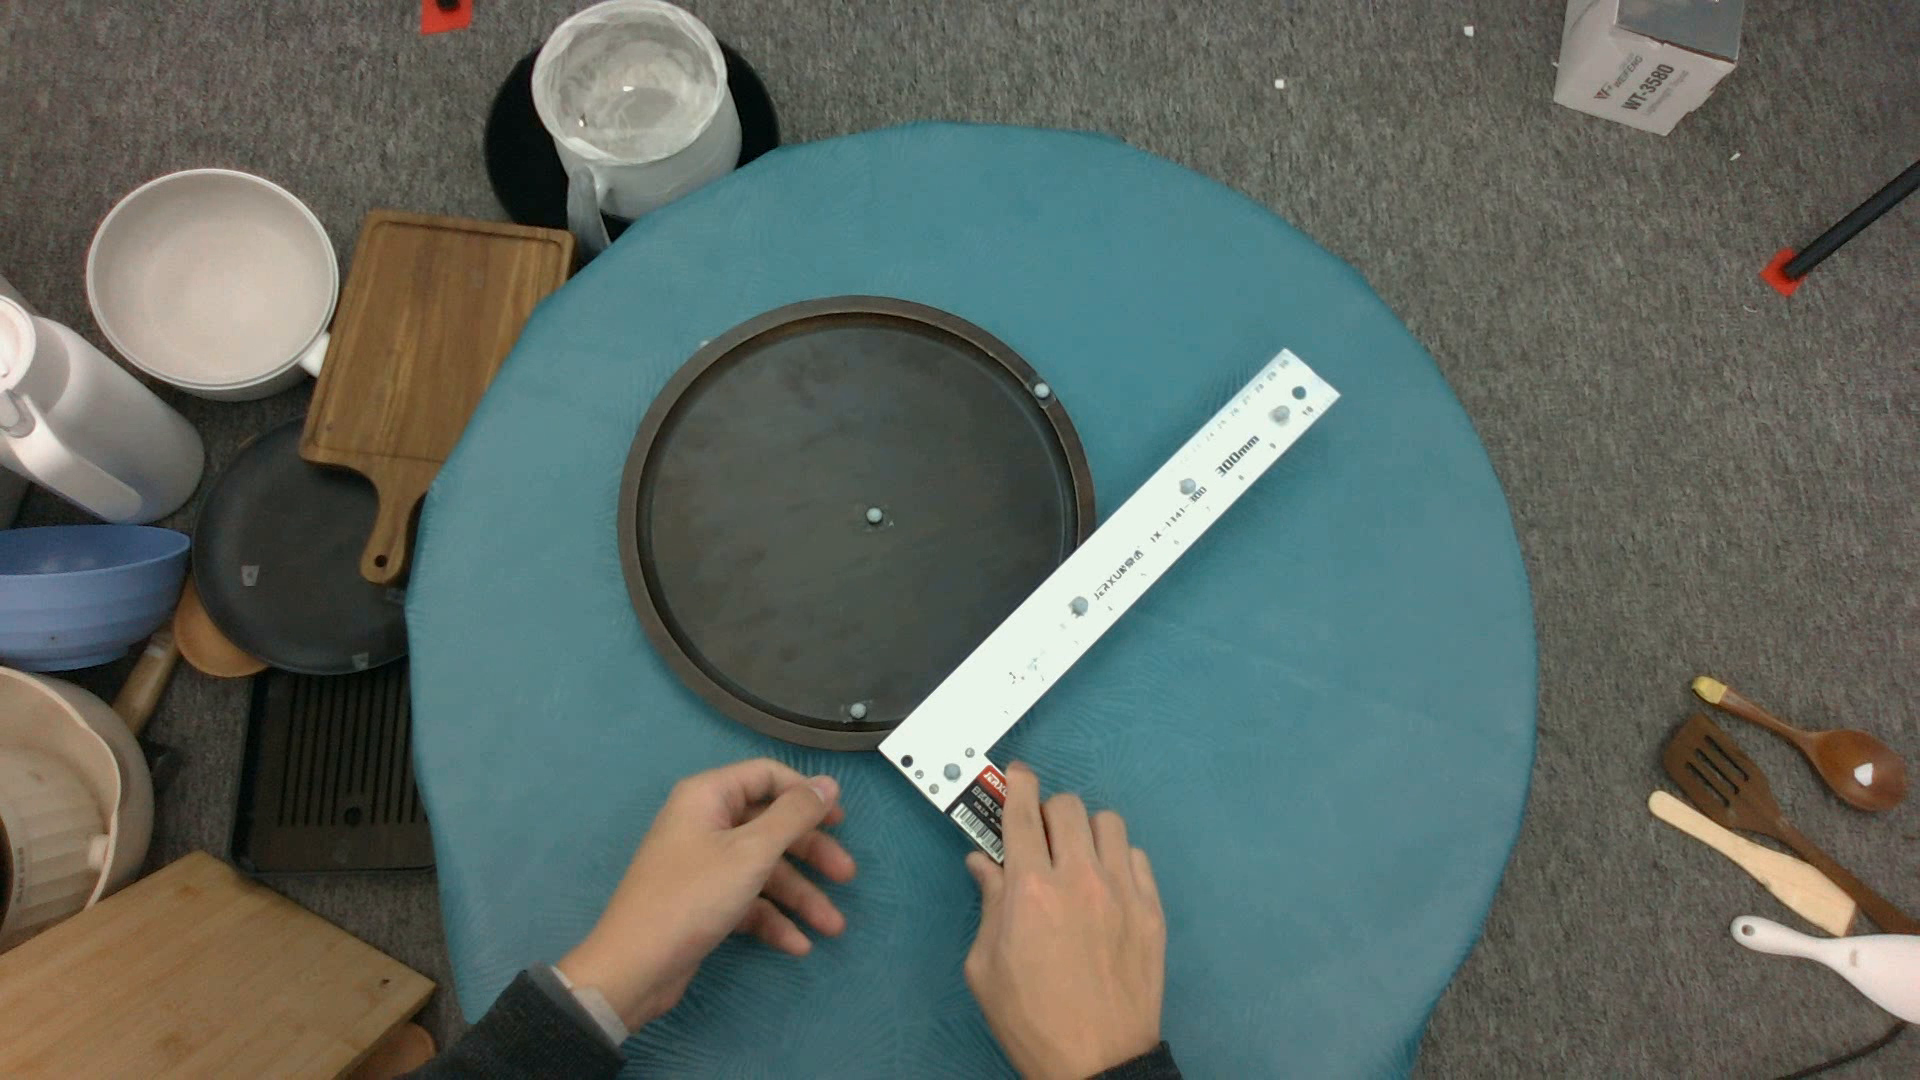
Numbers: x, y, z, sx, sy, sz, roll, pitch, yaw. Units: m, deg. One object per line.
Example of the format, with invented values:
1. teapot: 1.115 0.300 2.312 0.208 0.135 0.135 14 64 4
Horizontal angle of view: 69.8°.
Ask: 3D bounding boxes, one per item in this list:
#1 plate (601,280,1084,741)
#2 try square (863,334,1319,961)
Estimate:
1. plate: -0.060 -0.019 0.730 0.255 0.029 0.255 2 73 -6
2. try square: 0.111 0.044 0.703 0.152 0.016 0.313 44 76 9
